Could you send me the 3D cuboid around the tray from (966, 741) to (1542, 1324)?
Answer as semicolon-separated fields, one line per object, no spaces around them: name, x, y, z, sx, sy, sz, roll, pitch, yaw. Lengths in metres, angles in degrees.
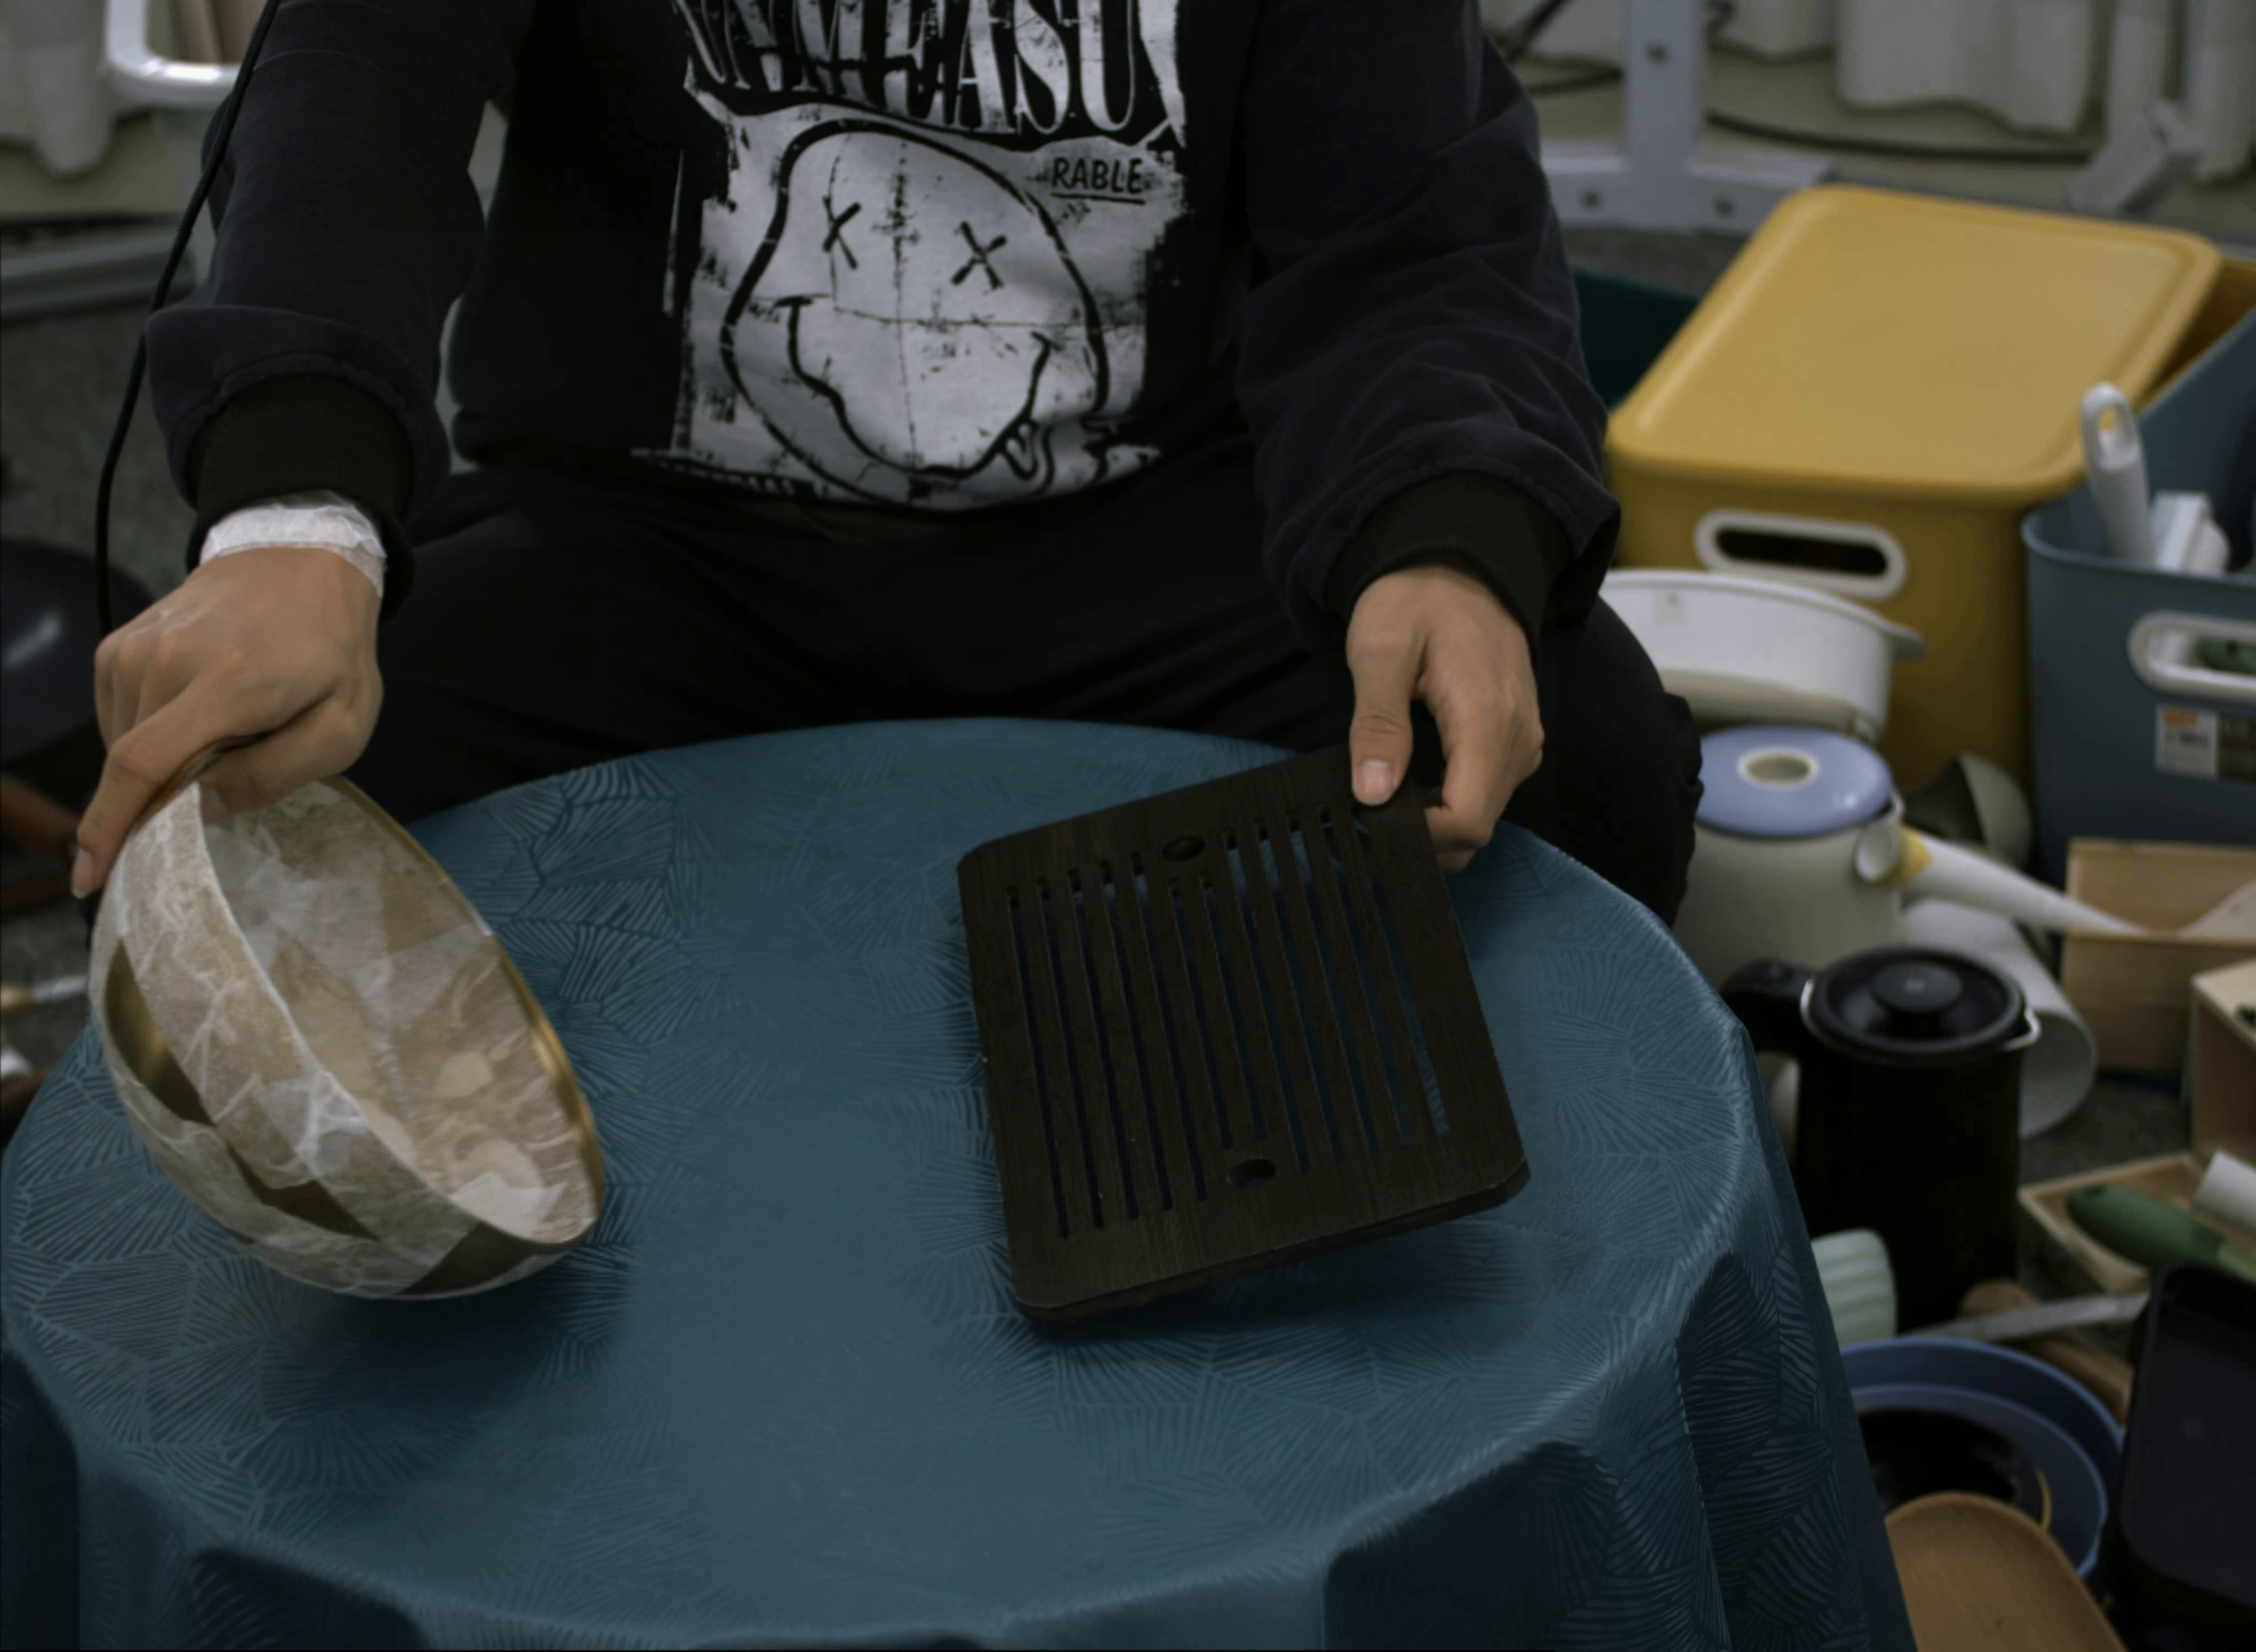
tray;0.037;0.067;1.906;0.169;0.018;0.310;-15;28;2

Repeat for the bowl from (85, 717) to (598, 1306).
bowl;-0.266;0.079;1.808;0.094;0.213;0.217;-36;25;12
